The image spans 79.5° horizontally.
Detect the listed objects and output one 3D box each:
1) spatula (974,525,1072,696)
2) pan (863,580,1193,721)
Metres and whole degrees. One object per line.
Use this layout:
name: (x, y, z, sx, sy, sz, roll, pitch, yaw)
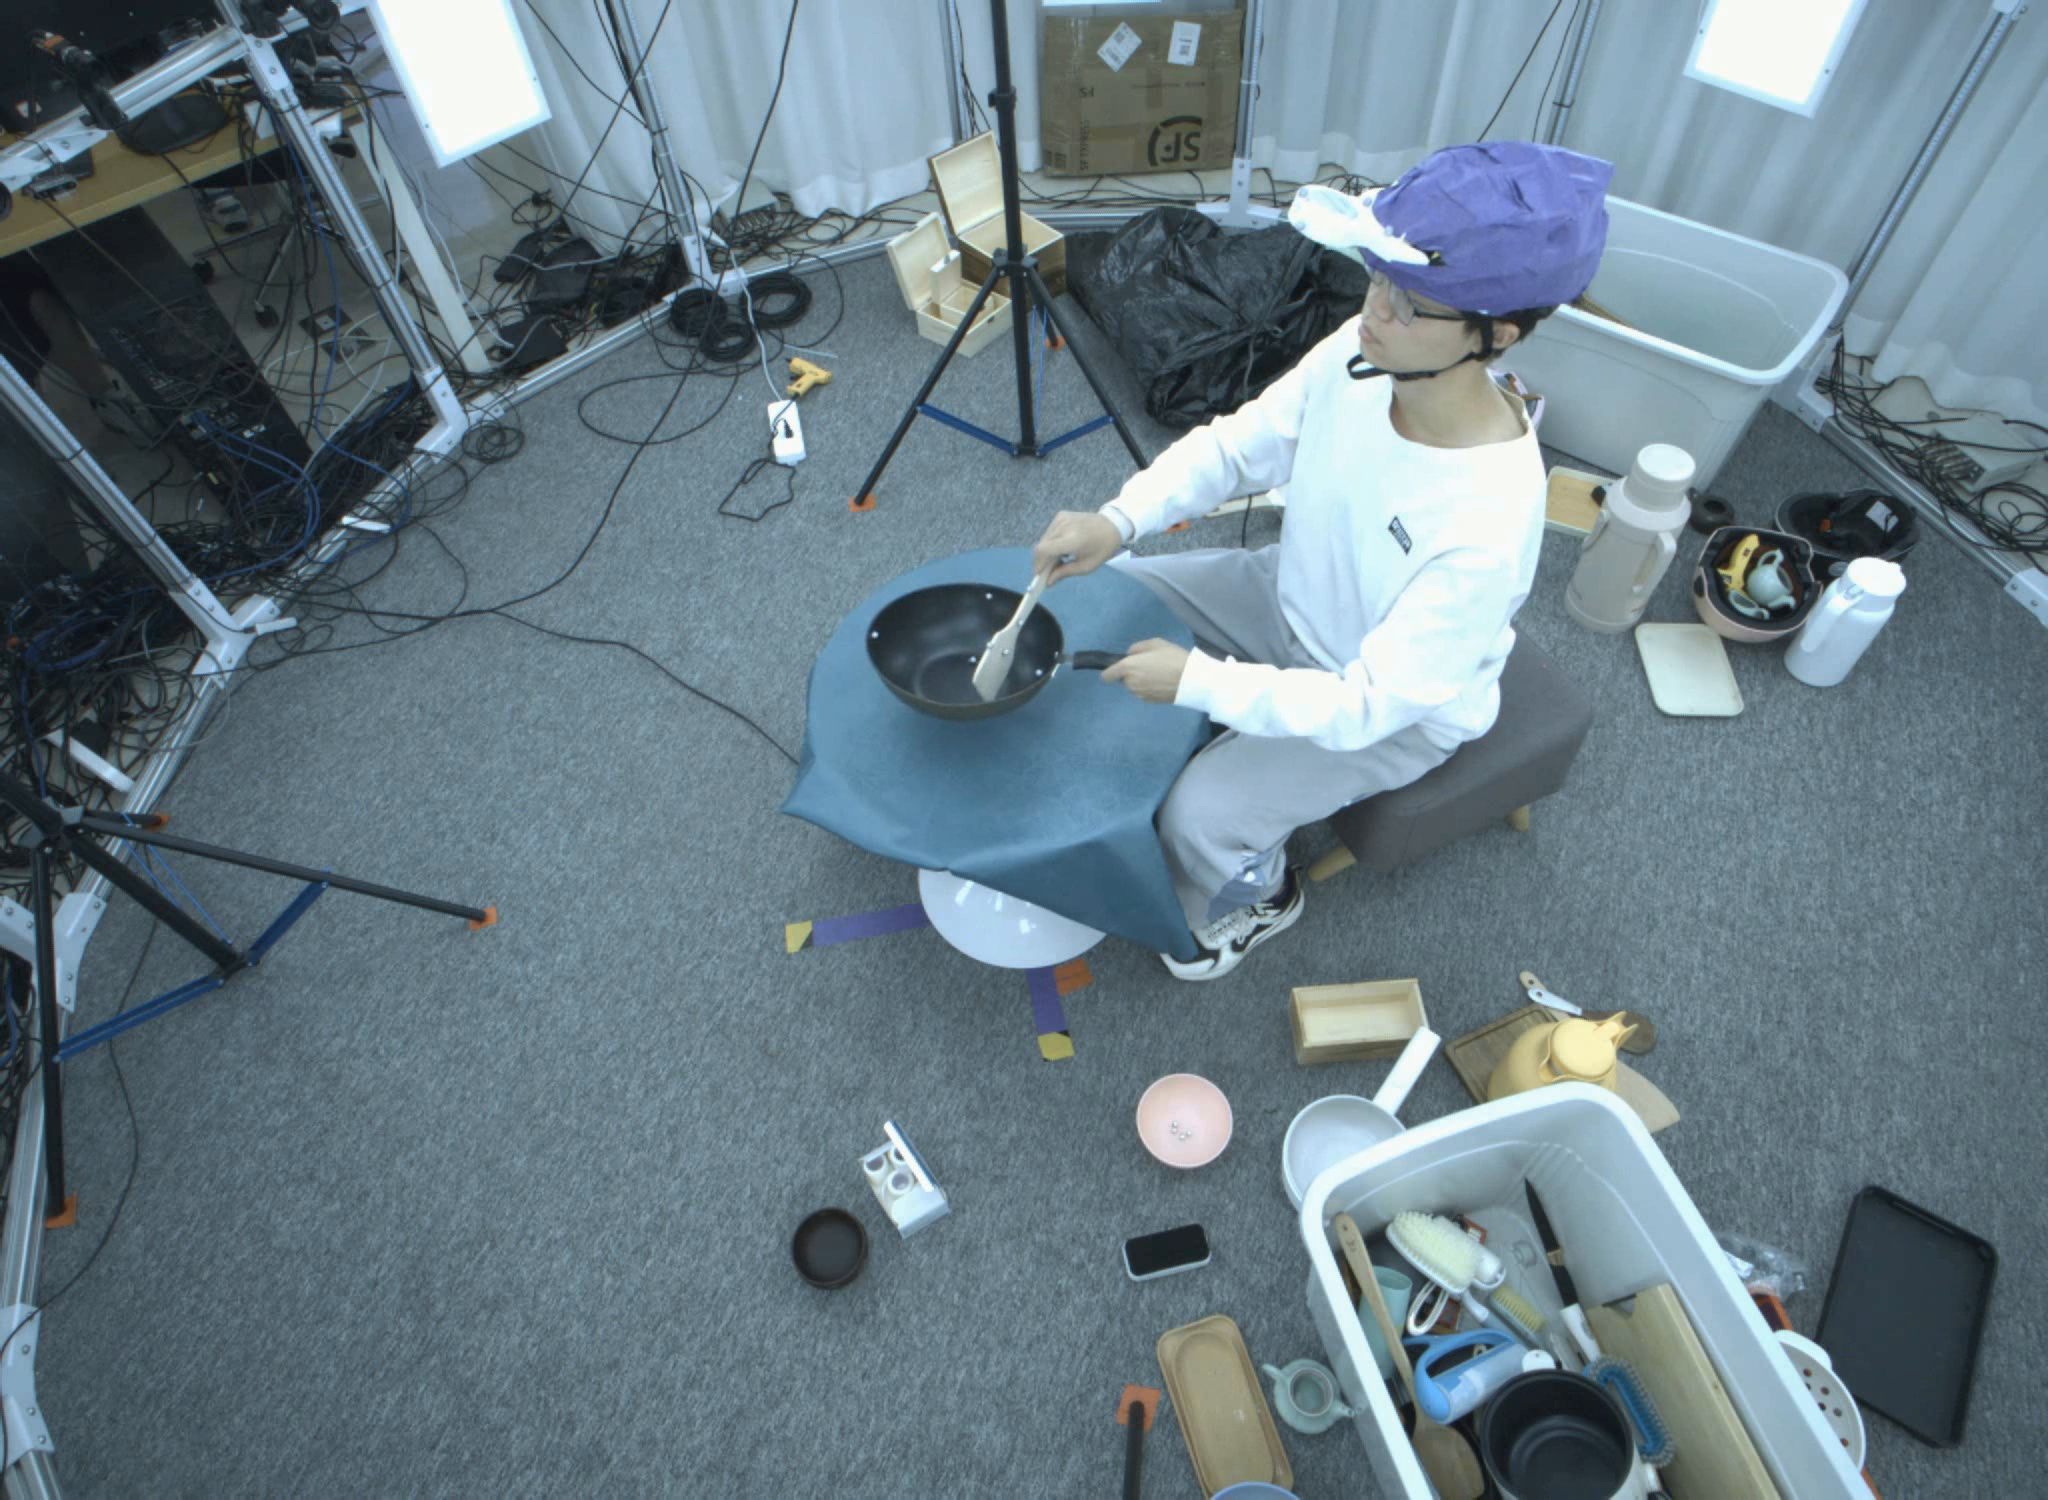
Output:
spatula: (0.002, -0.202, 1.748, 0.010, 0.073, 0.293, 17, 69, 29)
pan: (0.004, -0.115, 1.733, 0.462, 0.087, 0.286, 9, 43, 4)
